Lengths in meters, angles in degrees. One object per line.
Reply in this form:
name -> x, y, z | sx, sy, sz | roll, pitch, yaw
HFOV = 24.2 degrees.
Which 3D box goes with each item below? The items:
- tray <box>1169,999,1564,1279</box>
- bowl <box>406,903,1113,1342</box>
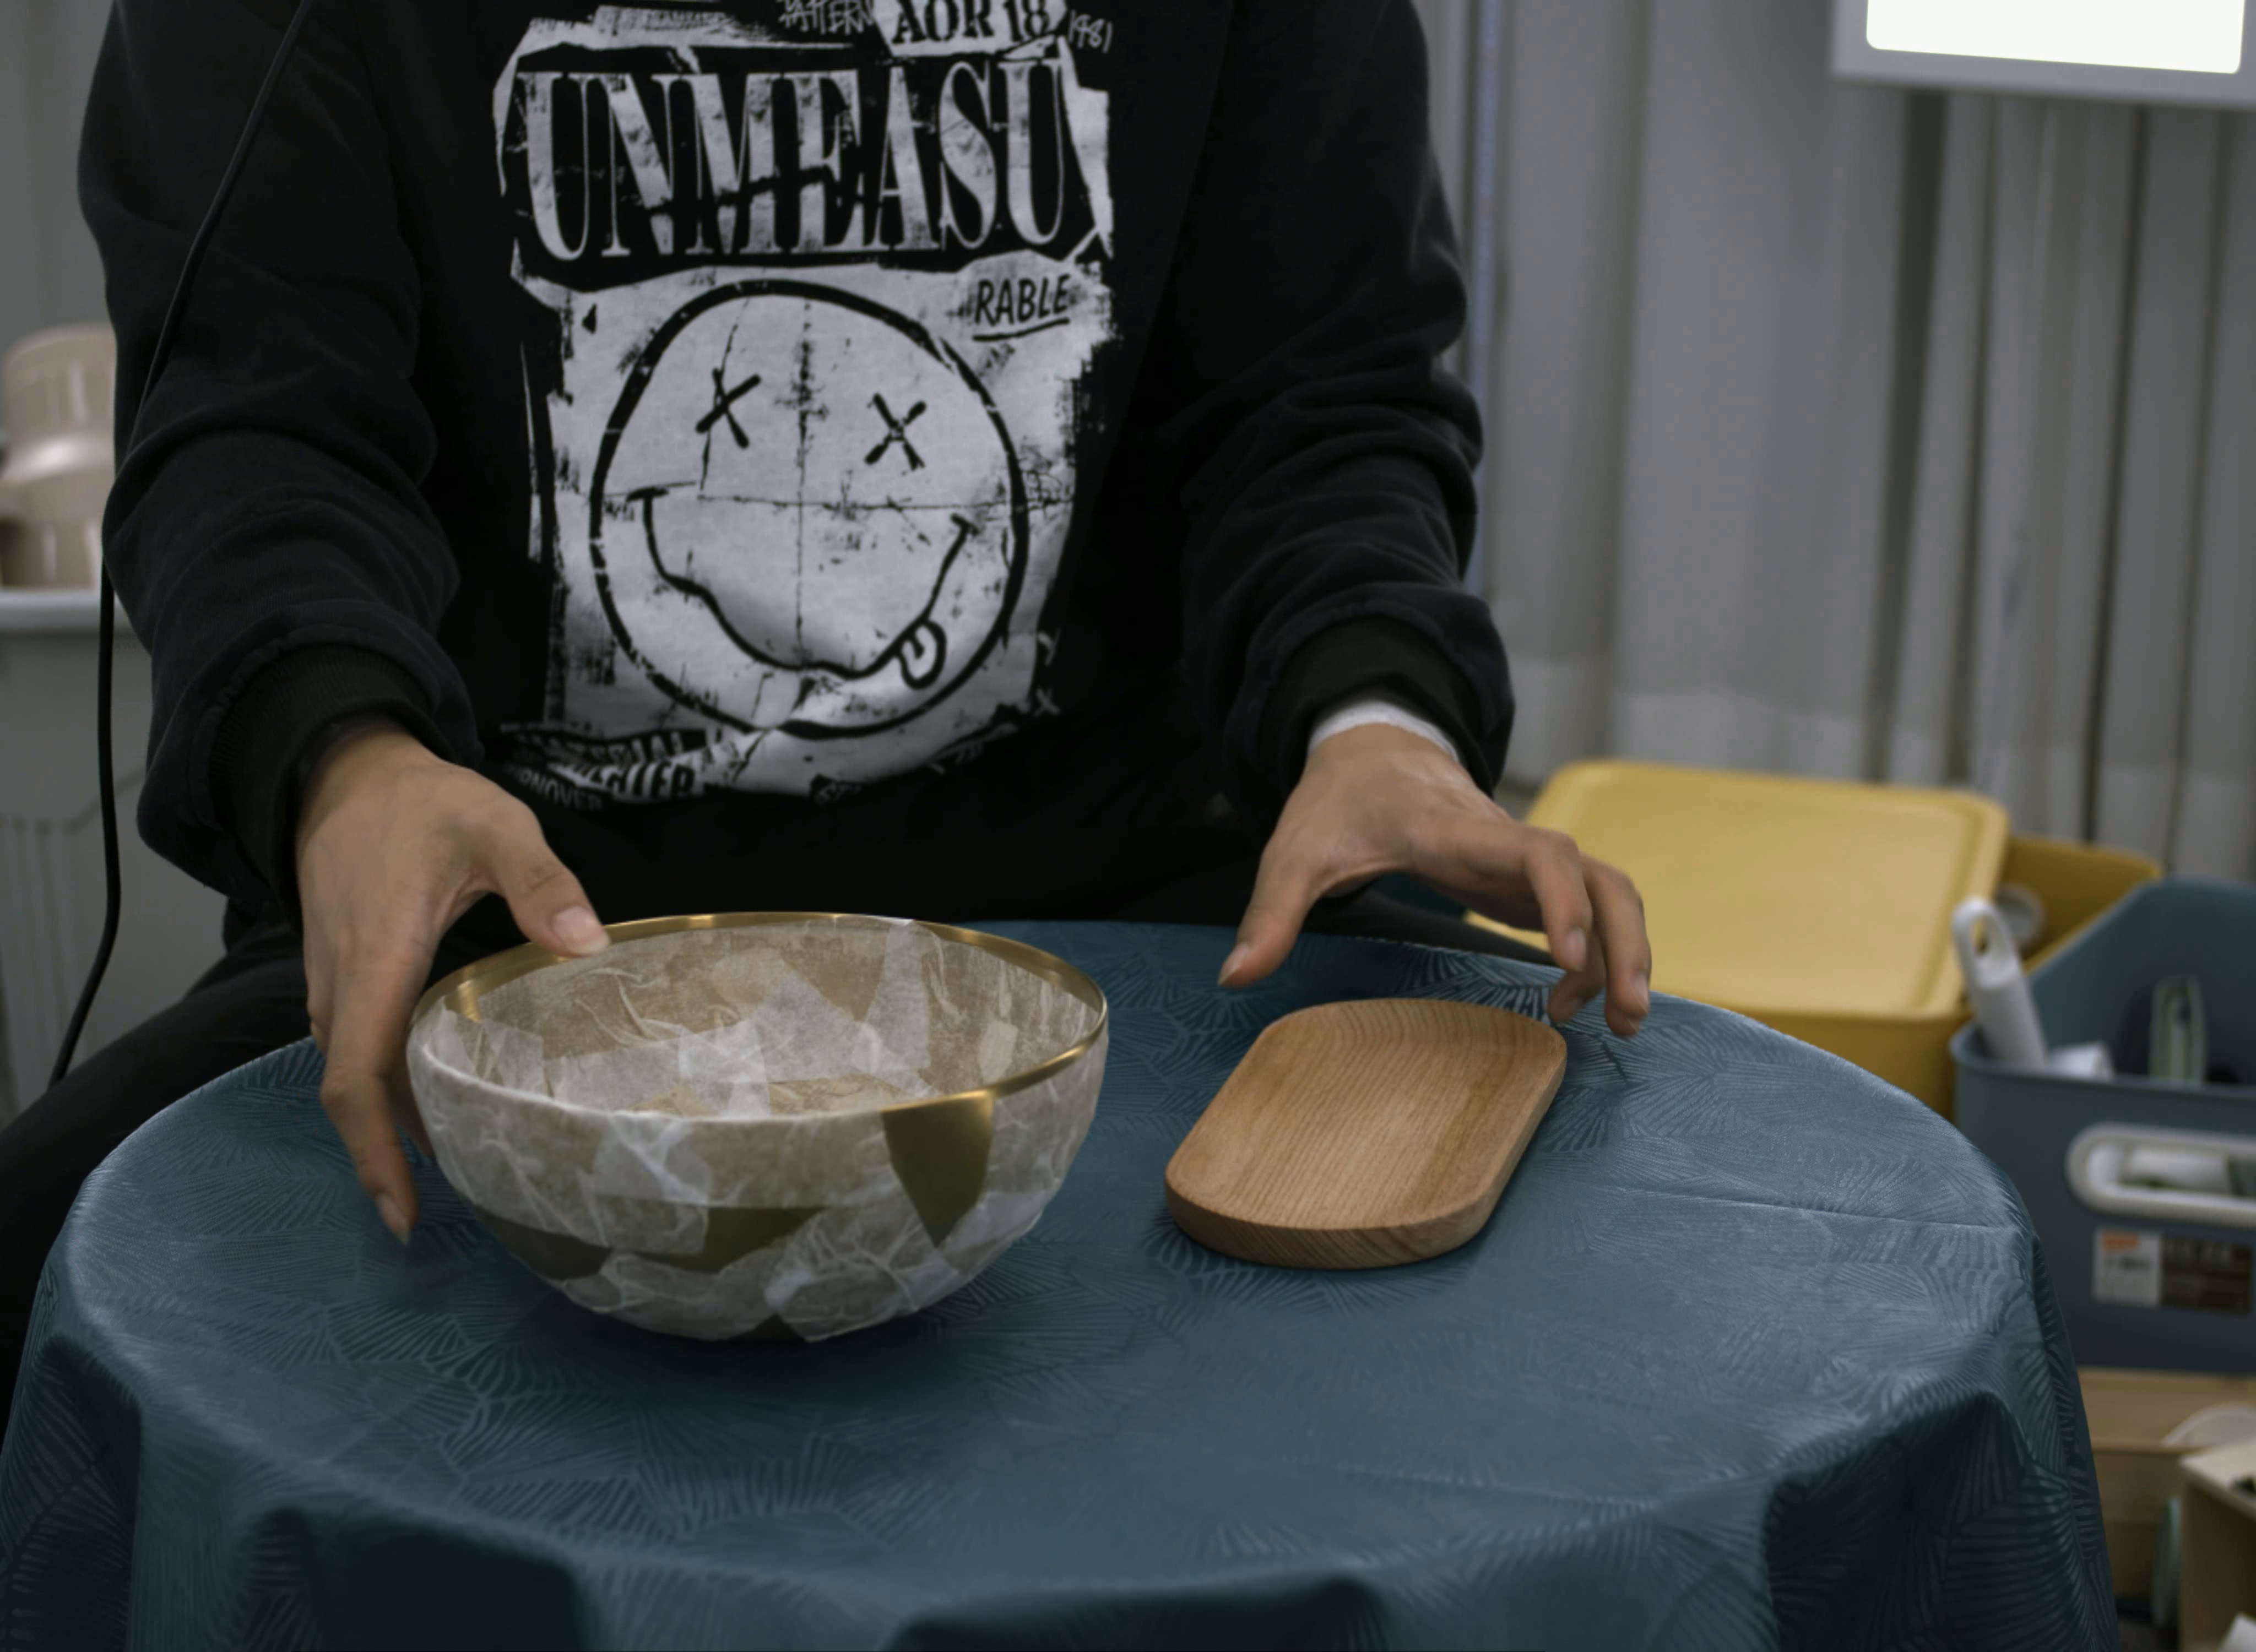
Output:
tray -> 0.078, 0.096, 1.659 | 0.101, 0.020, 0.231 | 2, 18, 13
bowl -> -0.101, 0.093, 1.517 | 0.214, 0.095, 0.213 | -1, 16, 1
